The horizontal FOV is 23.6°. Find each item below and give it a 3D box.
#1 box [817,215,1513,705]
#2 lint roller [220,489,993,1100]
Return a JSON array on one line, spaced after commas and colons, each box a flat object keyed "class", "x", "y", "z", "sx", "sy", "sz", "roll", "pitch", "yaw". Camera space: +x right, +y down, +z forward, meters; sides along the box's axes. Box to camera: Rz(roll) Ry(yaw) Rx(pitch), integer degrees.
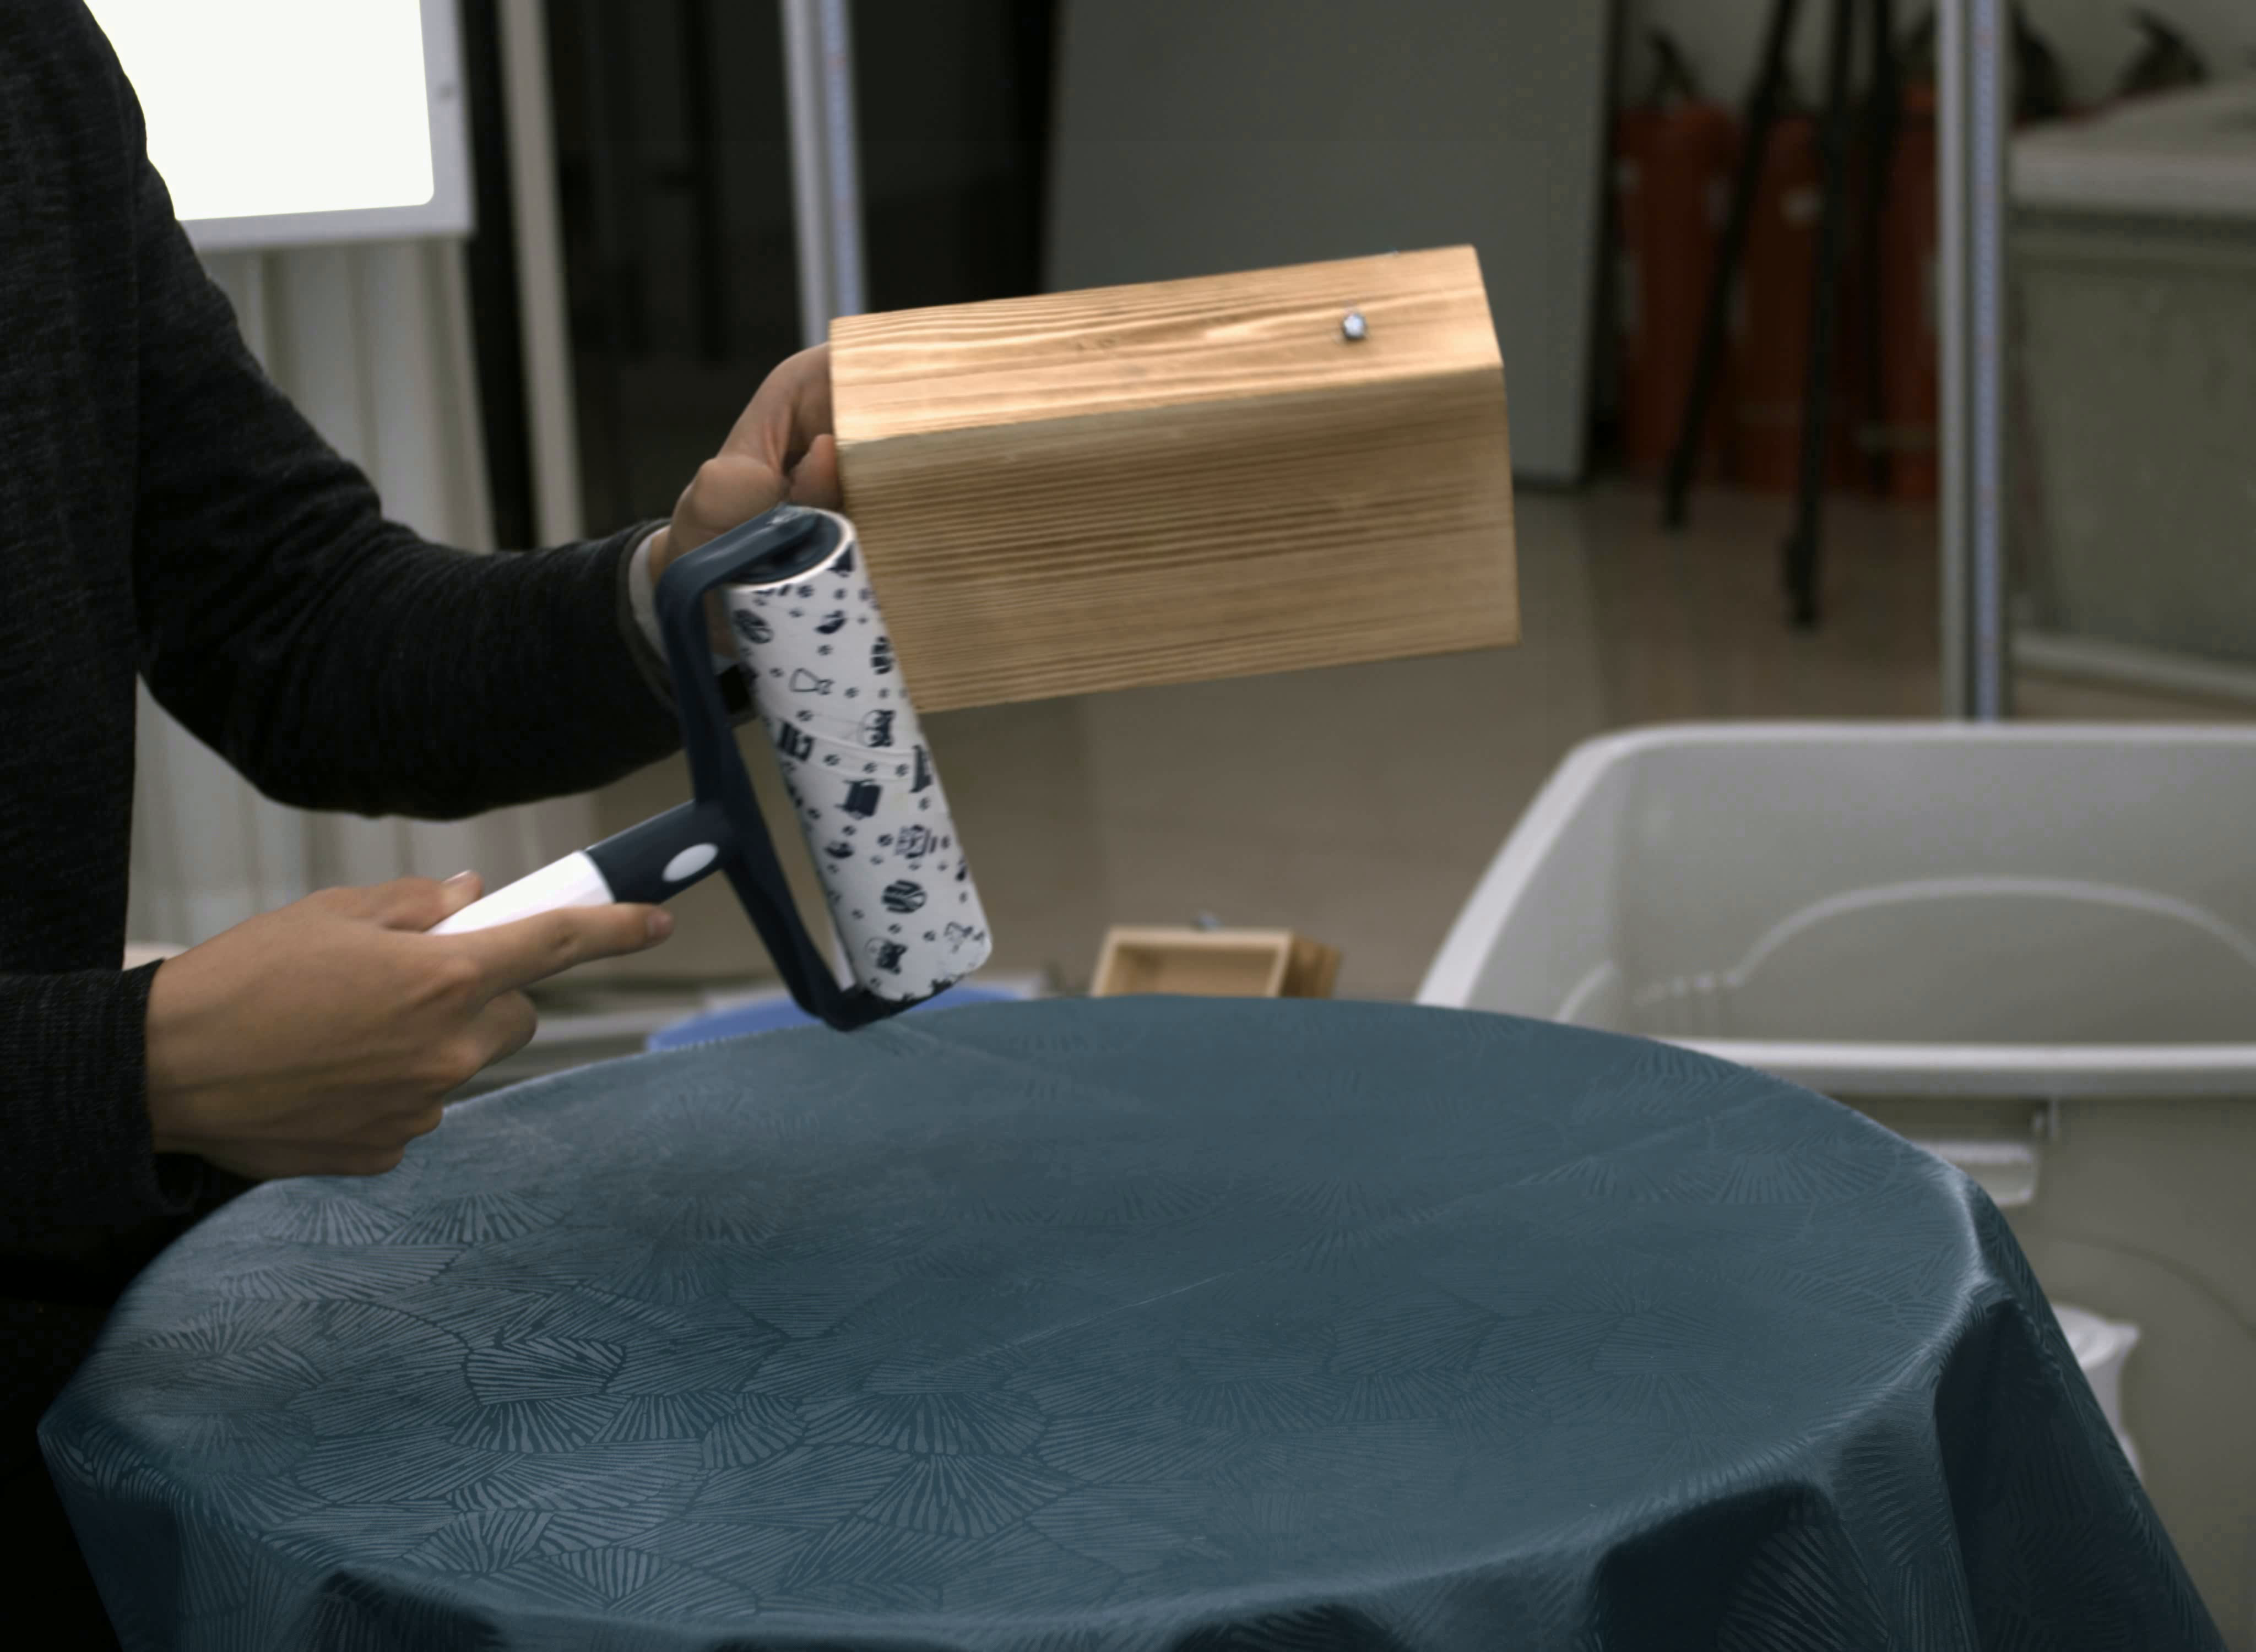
[{"class": "box", "x": 0.012, "y": -0.115, "z": 1.725, "sx": 0.209, "sy": 0.108, "sz": 0.081, "roll": -7, "pitch": 33, "yaw": 2}, {"class": "lint roller", "x": -0.166, "y": 0.024, "z": 1.676, "sx": 0.244, "sy": 0.176, "sz": 0.051, "roll": -30, "pitch": 34, "yaw": -17}]
